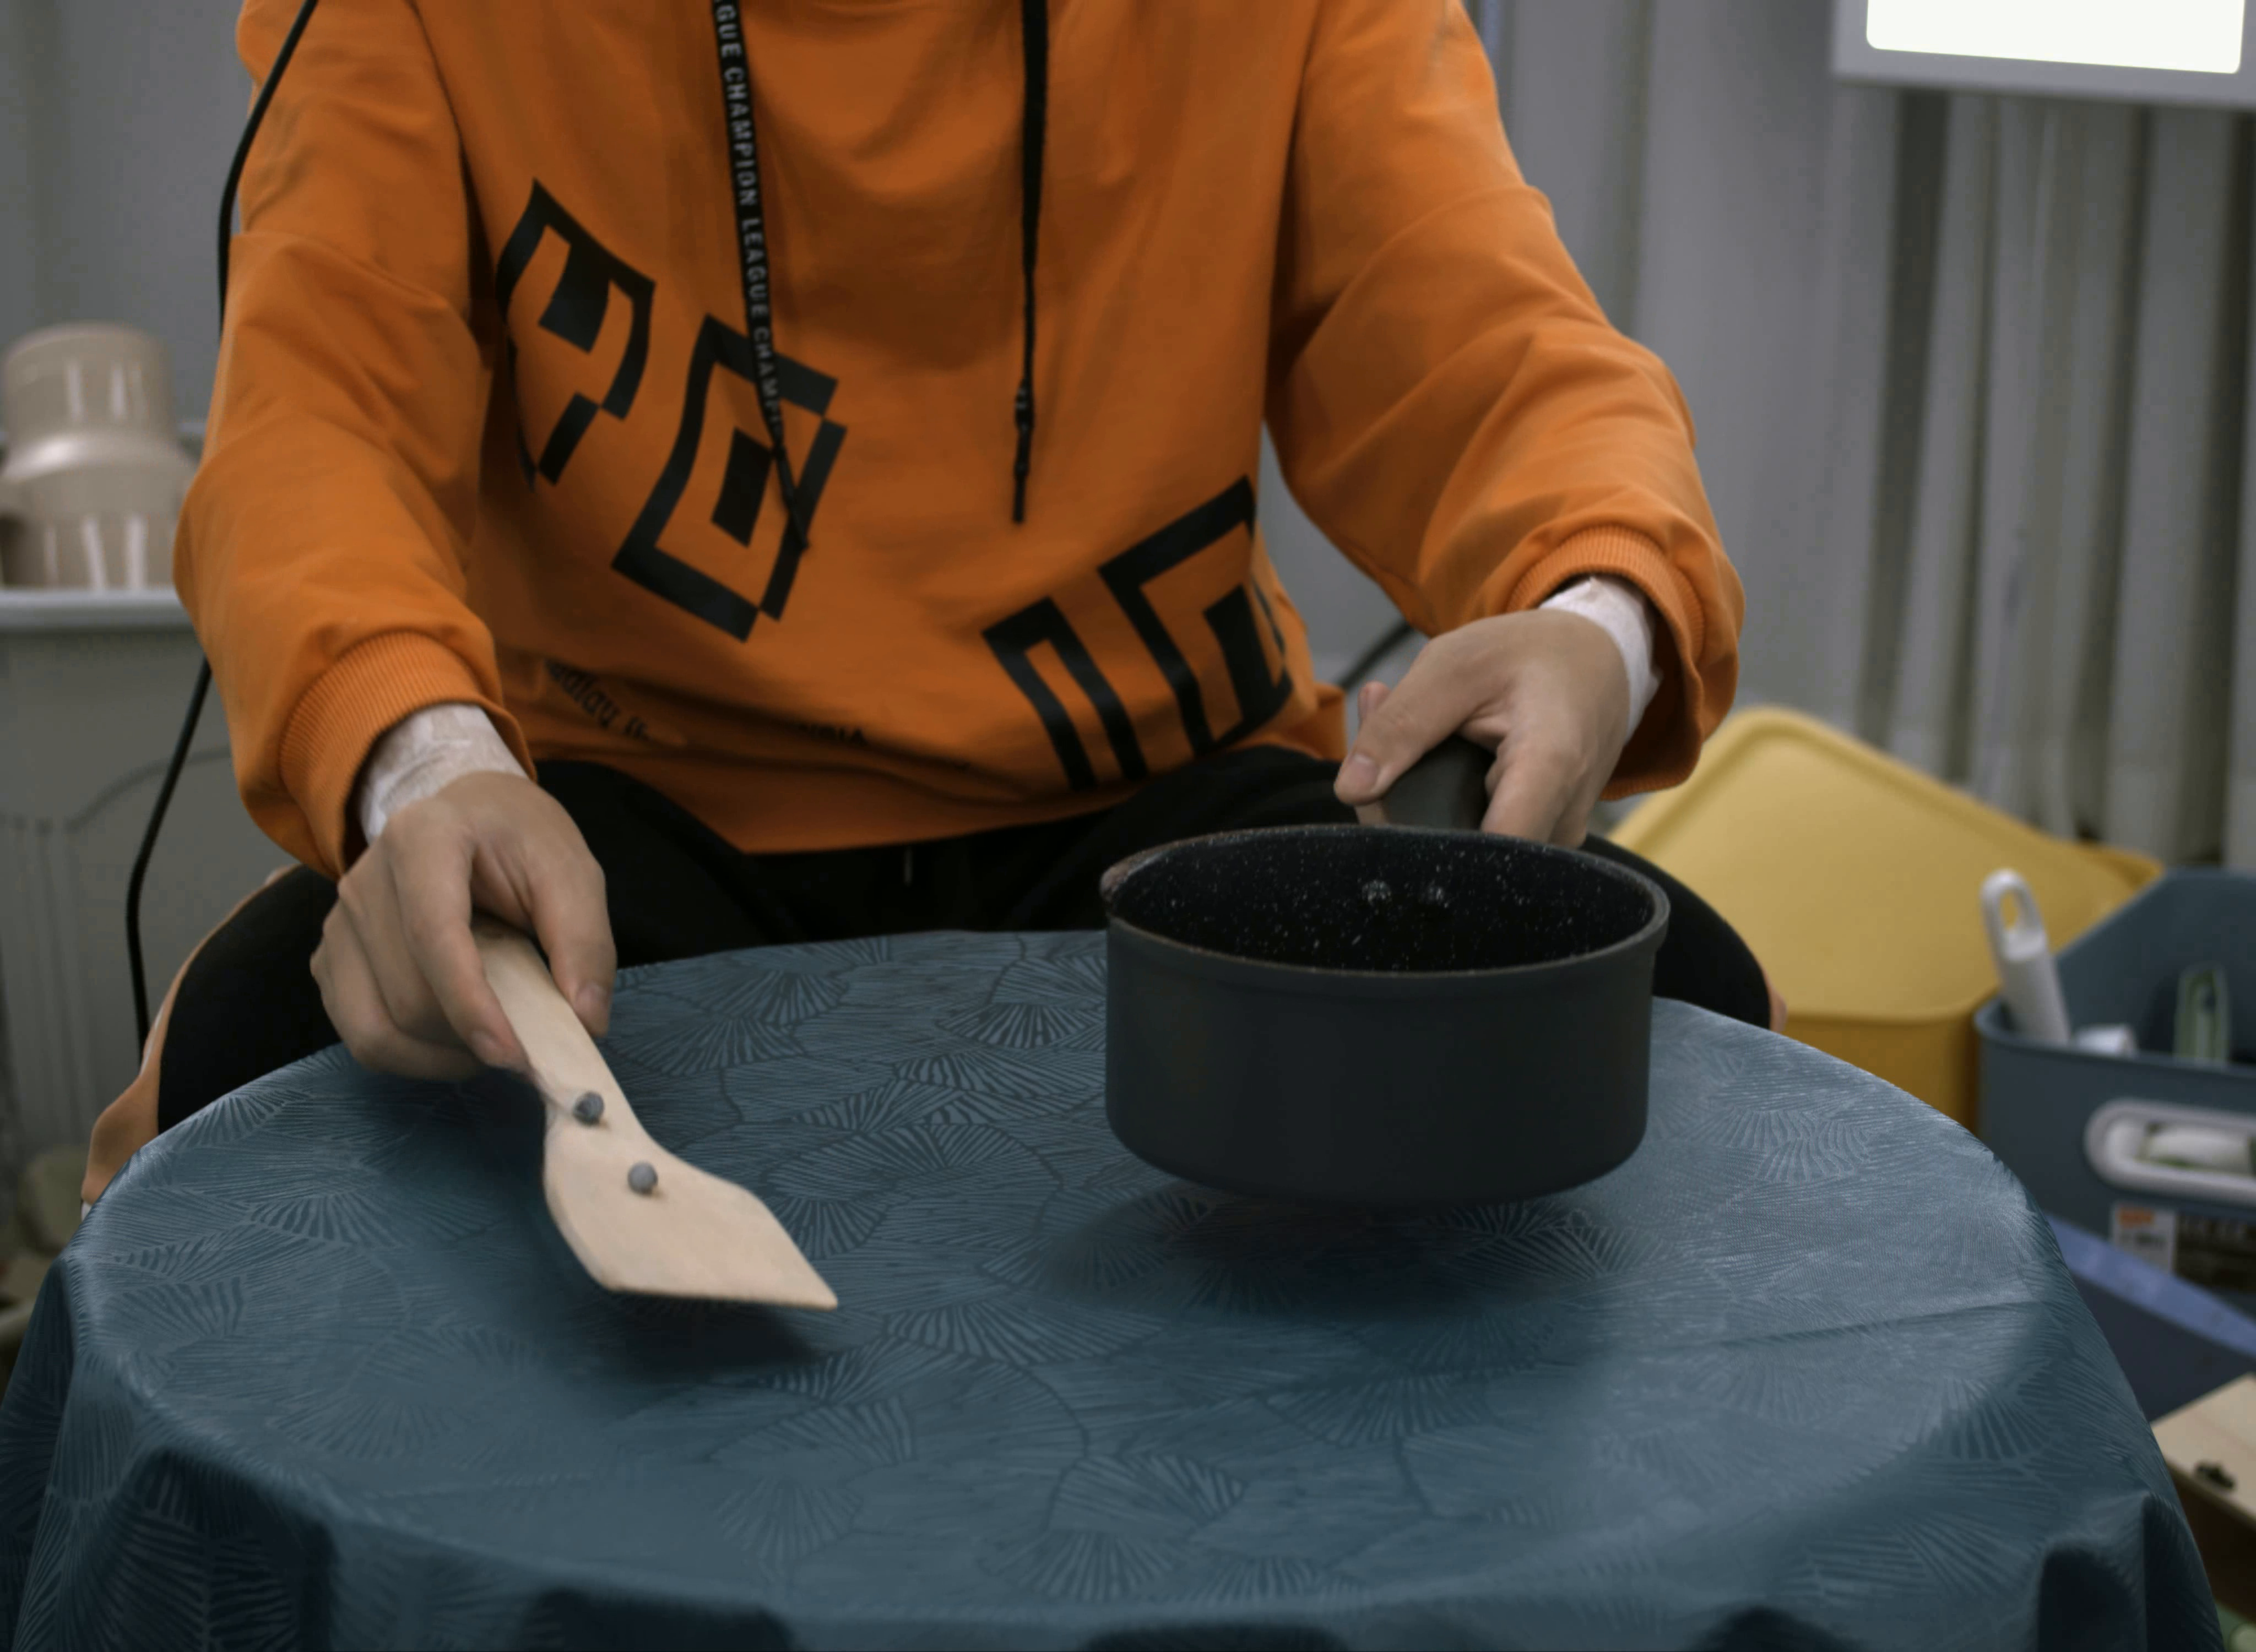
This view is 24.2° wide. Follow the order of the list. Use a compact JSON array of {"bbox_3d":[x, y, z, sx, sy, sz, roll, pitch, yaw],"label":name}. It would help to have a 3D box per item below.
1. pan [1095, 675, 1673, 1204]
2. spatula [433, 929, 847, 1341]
[{"bbox_3d":[0.090,0.032,1.646,0.171,0.087,0.328,5,16,10],"label":"pan"},{"bbox_3d":[-0.163,0.089,1.586,0.072,0.011,0.289,5,20,-25],"label":"spatula"}]
